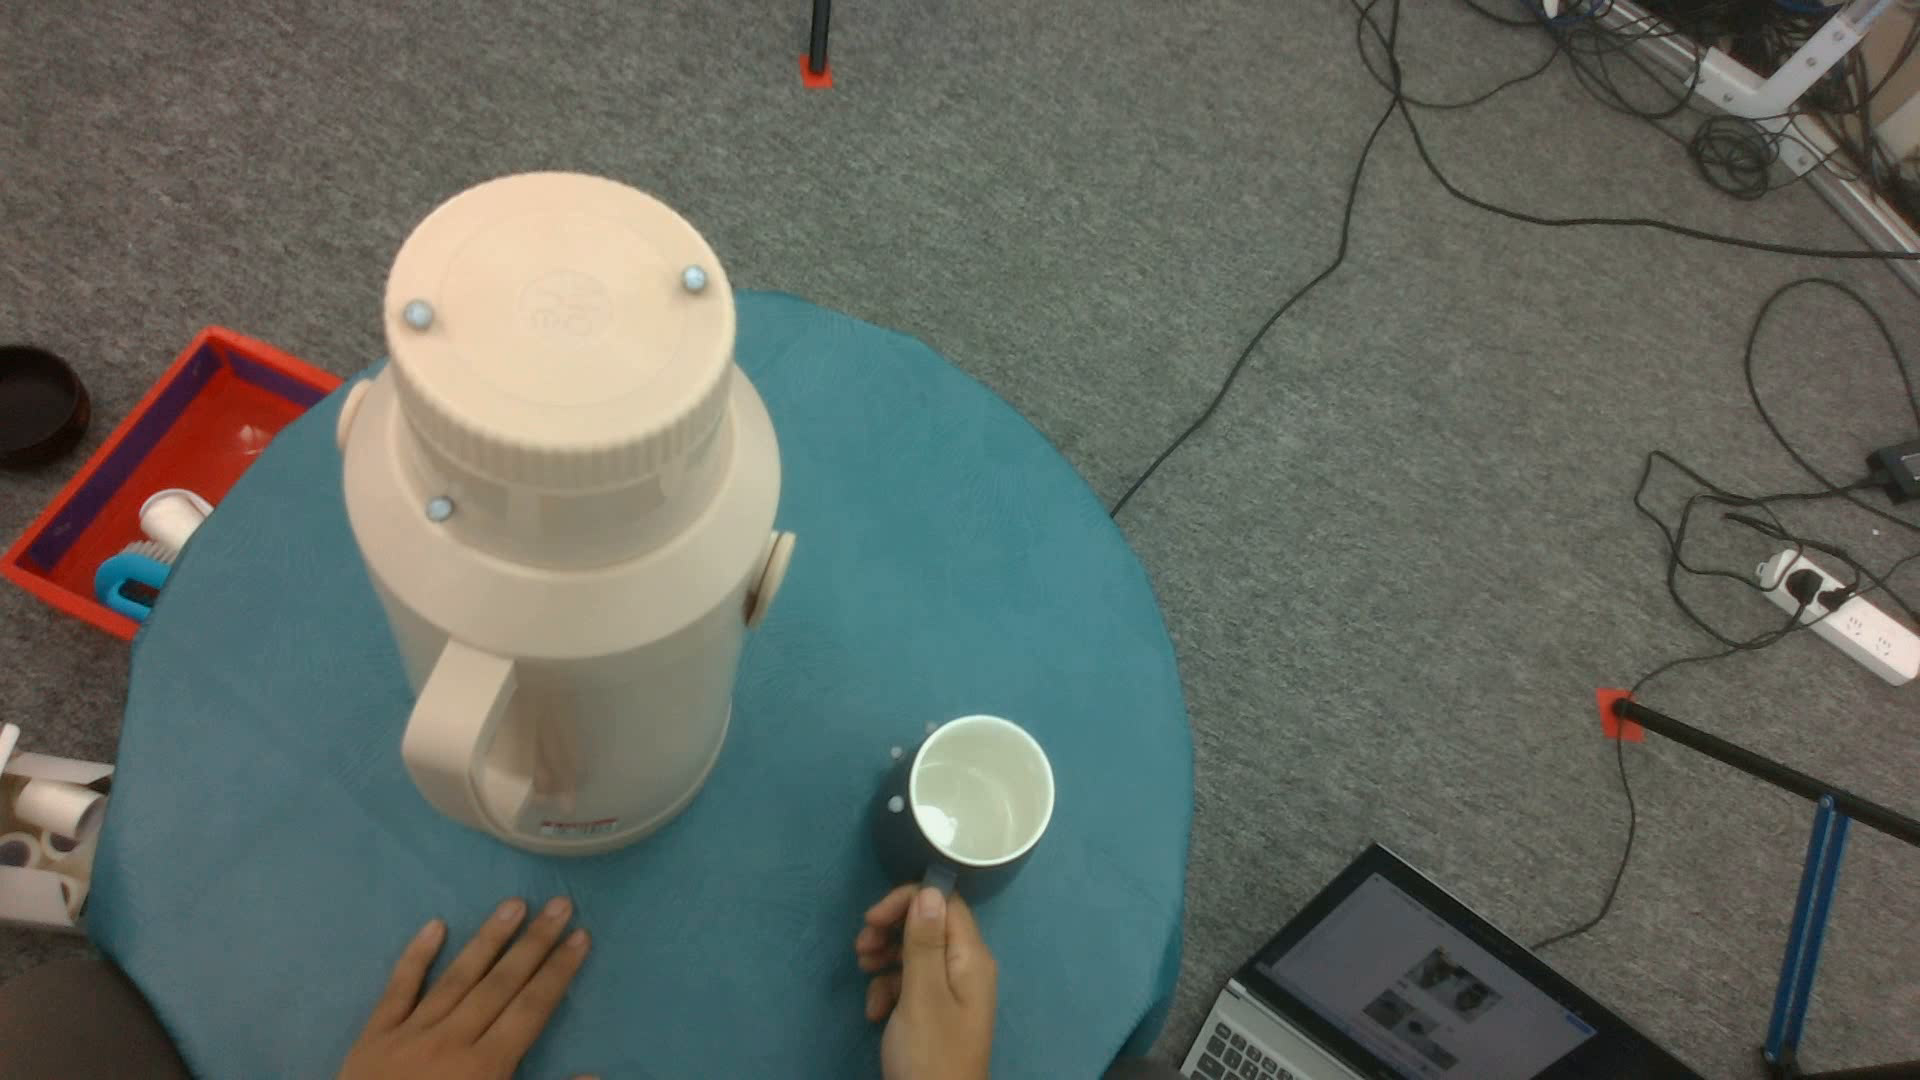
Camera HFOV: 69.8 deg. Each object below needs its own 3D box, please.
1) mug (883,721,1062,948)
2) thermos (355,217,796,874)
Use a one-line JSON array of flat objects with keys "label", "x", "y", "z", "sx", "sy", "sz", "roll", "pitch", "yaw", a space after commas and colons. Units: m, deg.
[{"label": "mug", "x": 0.002, "y": 0.165, "z": 0.762, "sx": 0.093, "sy": 0.089, "sz": 0.124, "roll": 25, "pitch": 61, "yaw": 1}, {"label": "thermos", "x": -0.172, "y": 0.037, "z": 0.613, "sx": 0.175, "sy": 0.404, "sz": 0.208, "roll": 17, "pitch": 61, "yaw": -5}]
